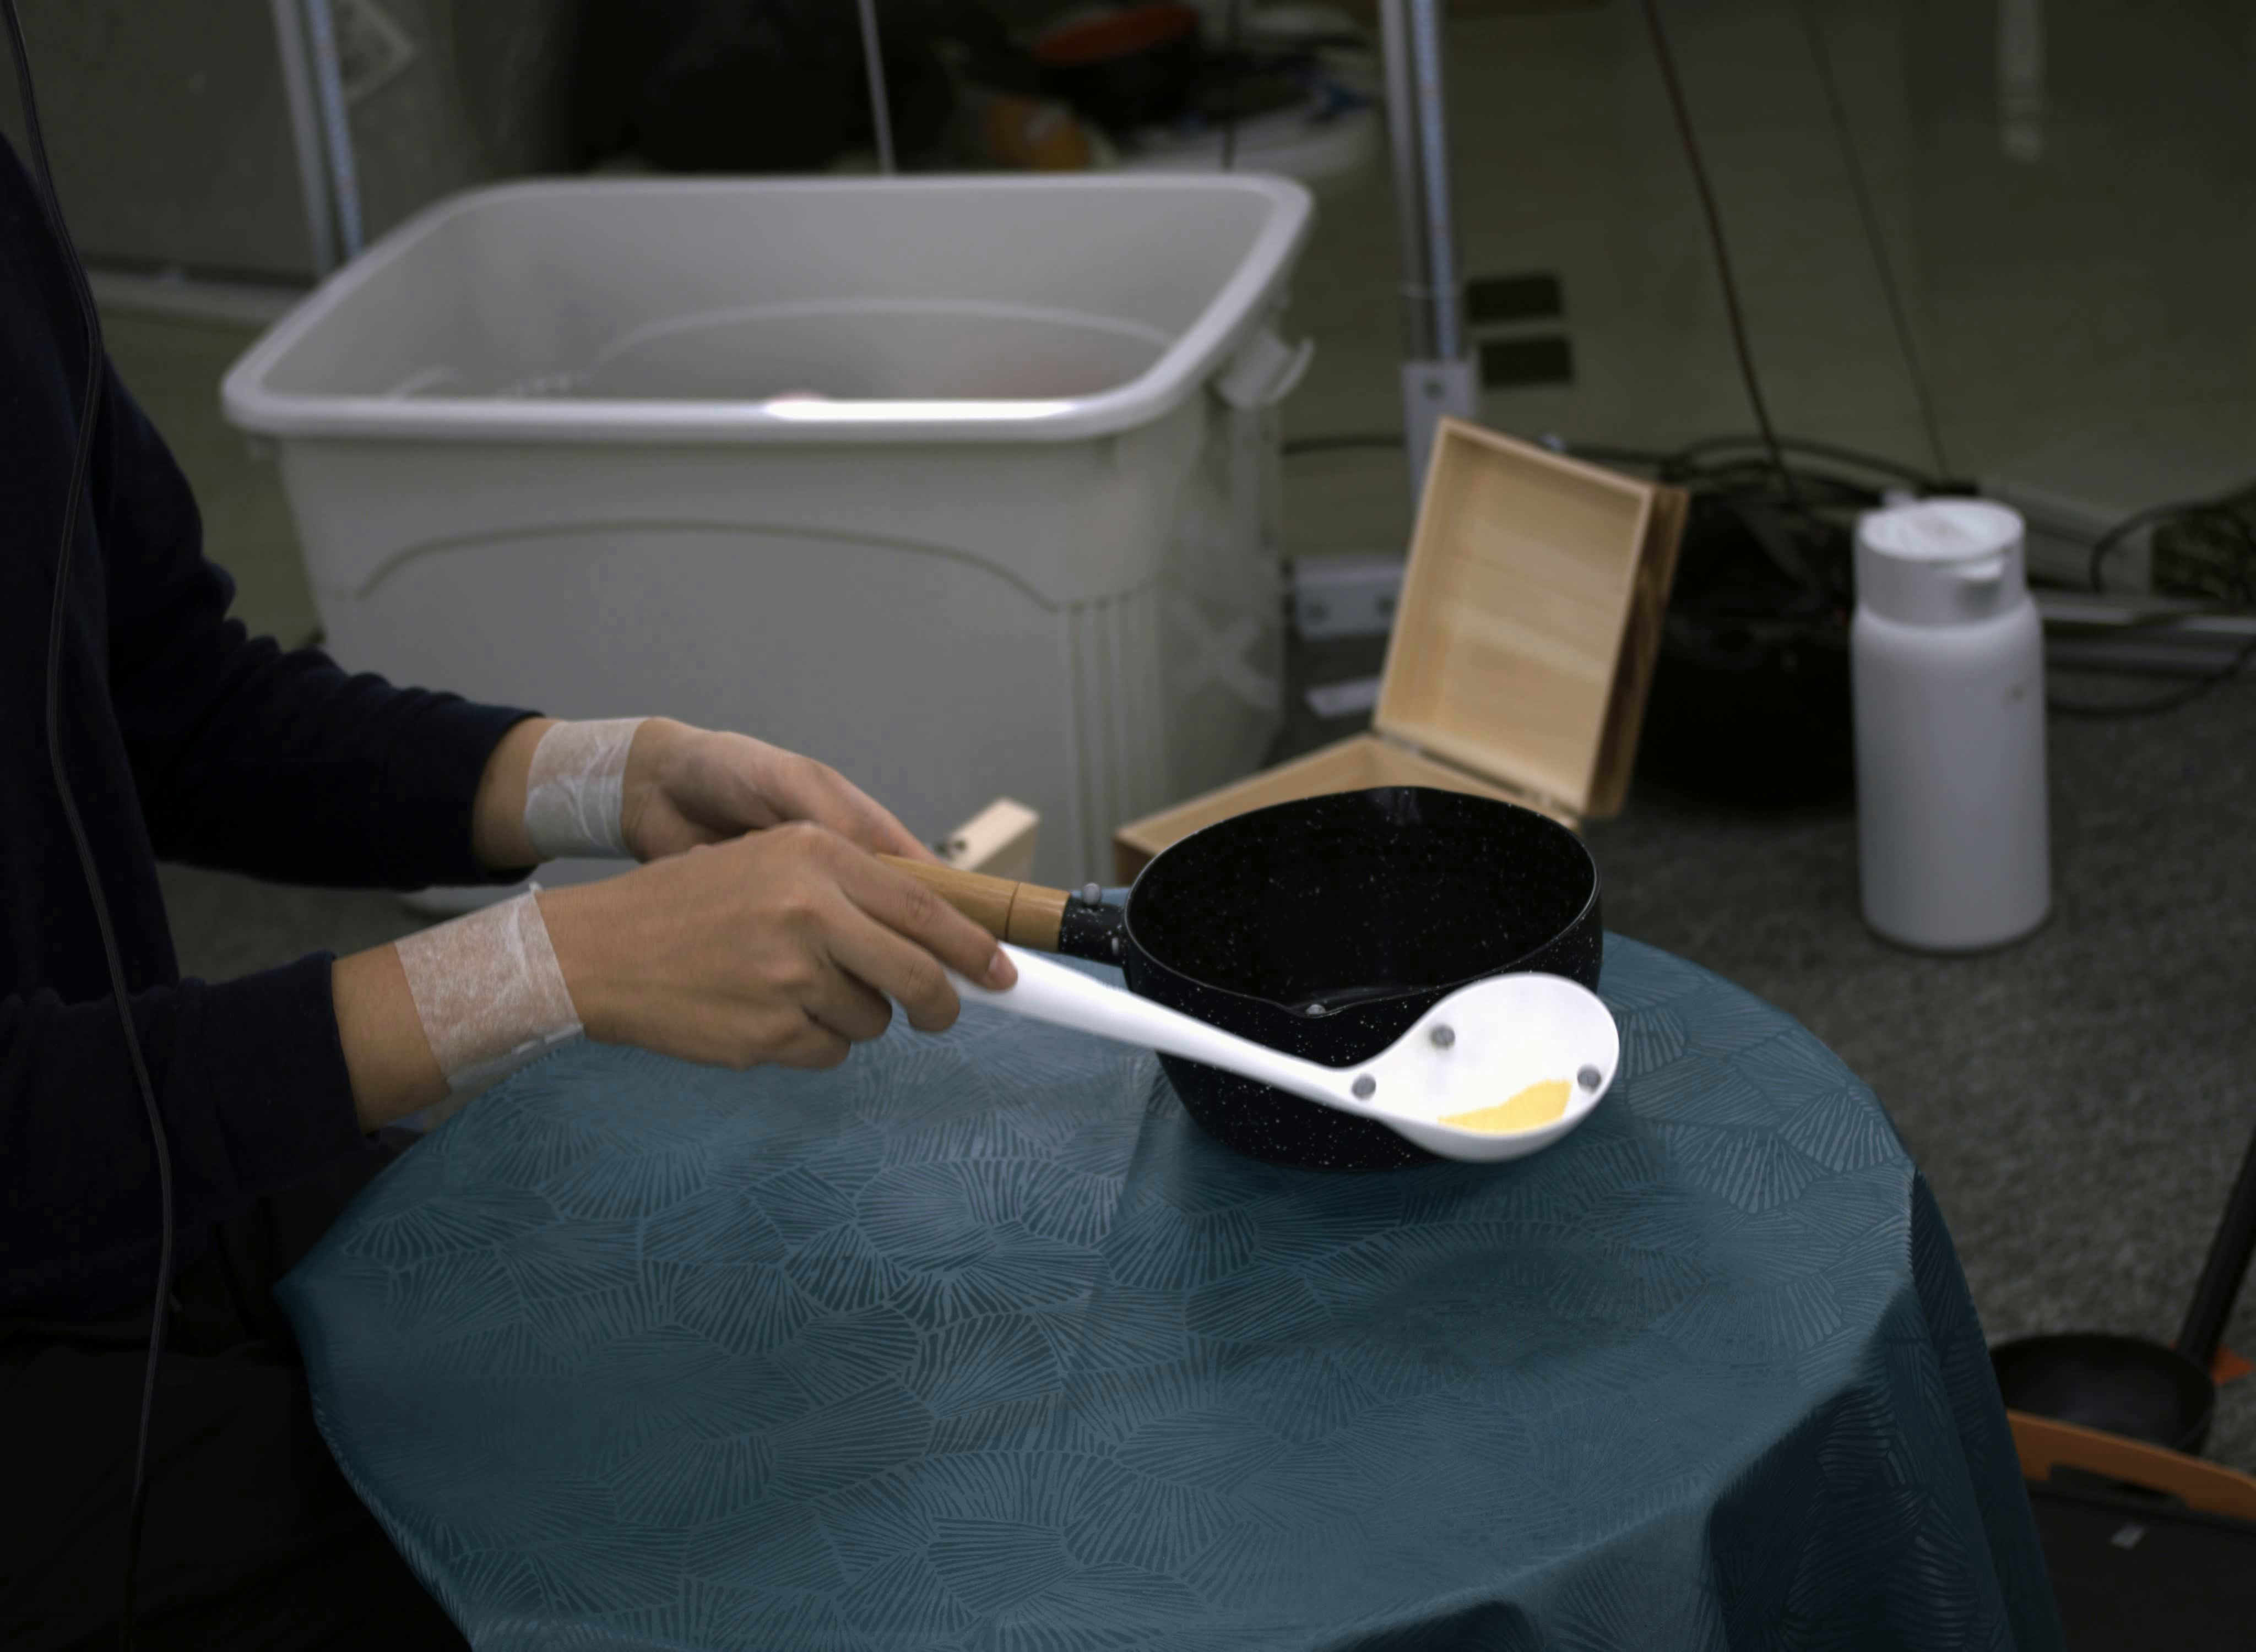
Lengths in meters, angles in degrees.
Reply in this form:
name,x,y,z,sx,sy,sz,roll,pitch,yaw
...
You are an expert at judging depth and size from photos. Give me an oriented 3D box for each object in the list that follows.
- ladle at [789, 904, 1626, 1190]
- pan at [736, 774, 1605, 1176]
name,x,y,z,sx,sy,sz,roll,pitch,yaw
ladle,0.030,0.067,1.981,0.293,0.071,0.088,16,41,-18
pan,0.015,0.052,2.199,0.342,0.110,0.204,1,27,12
